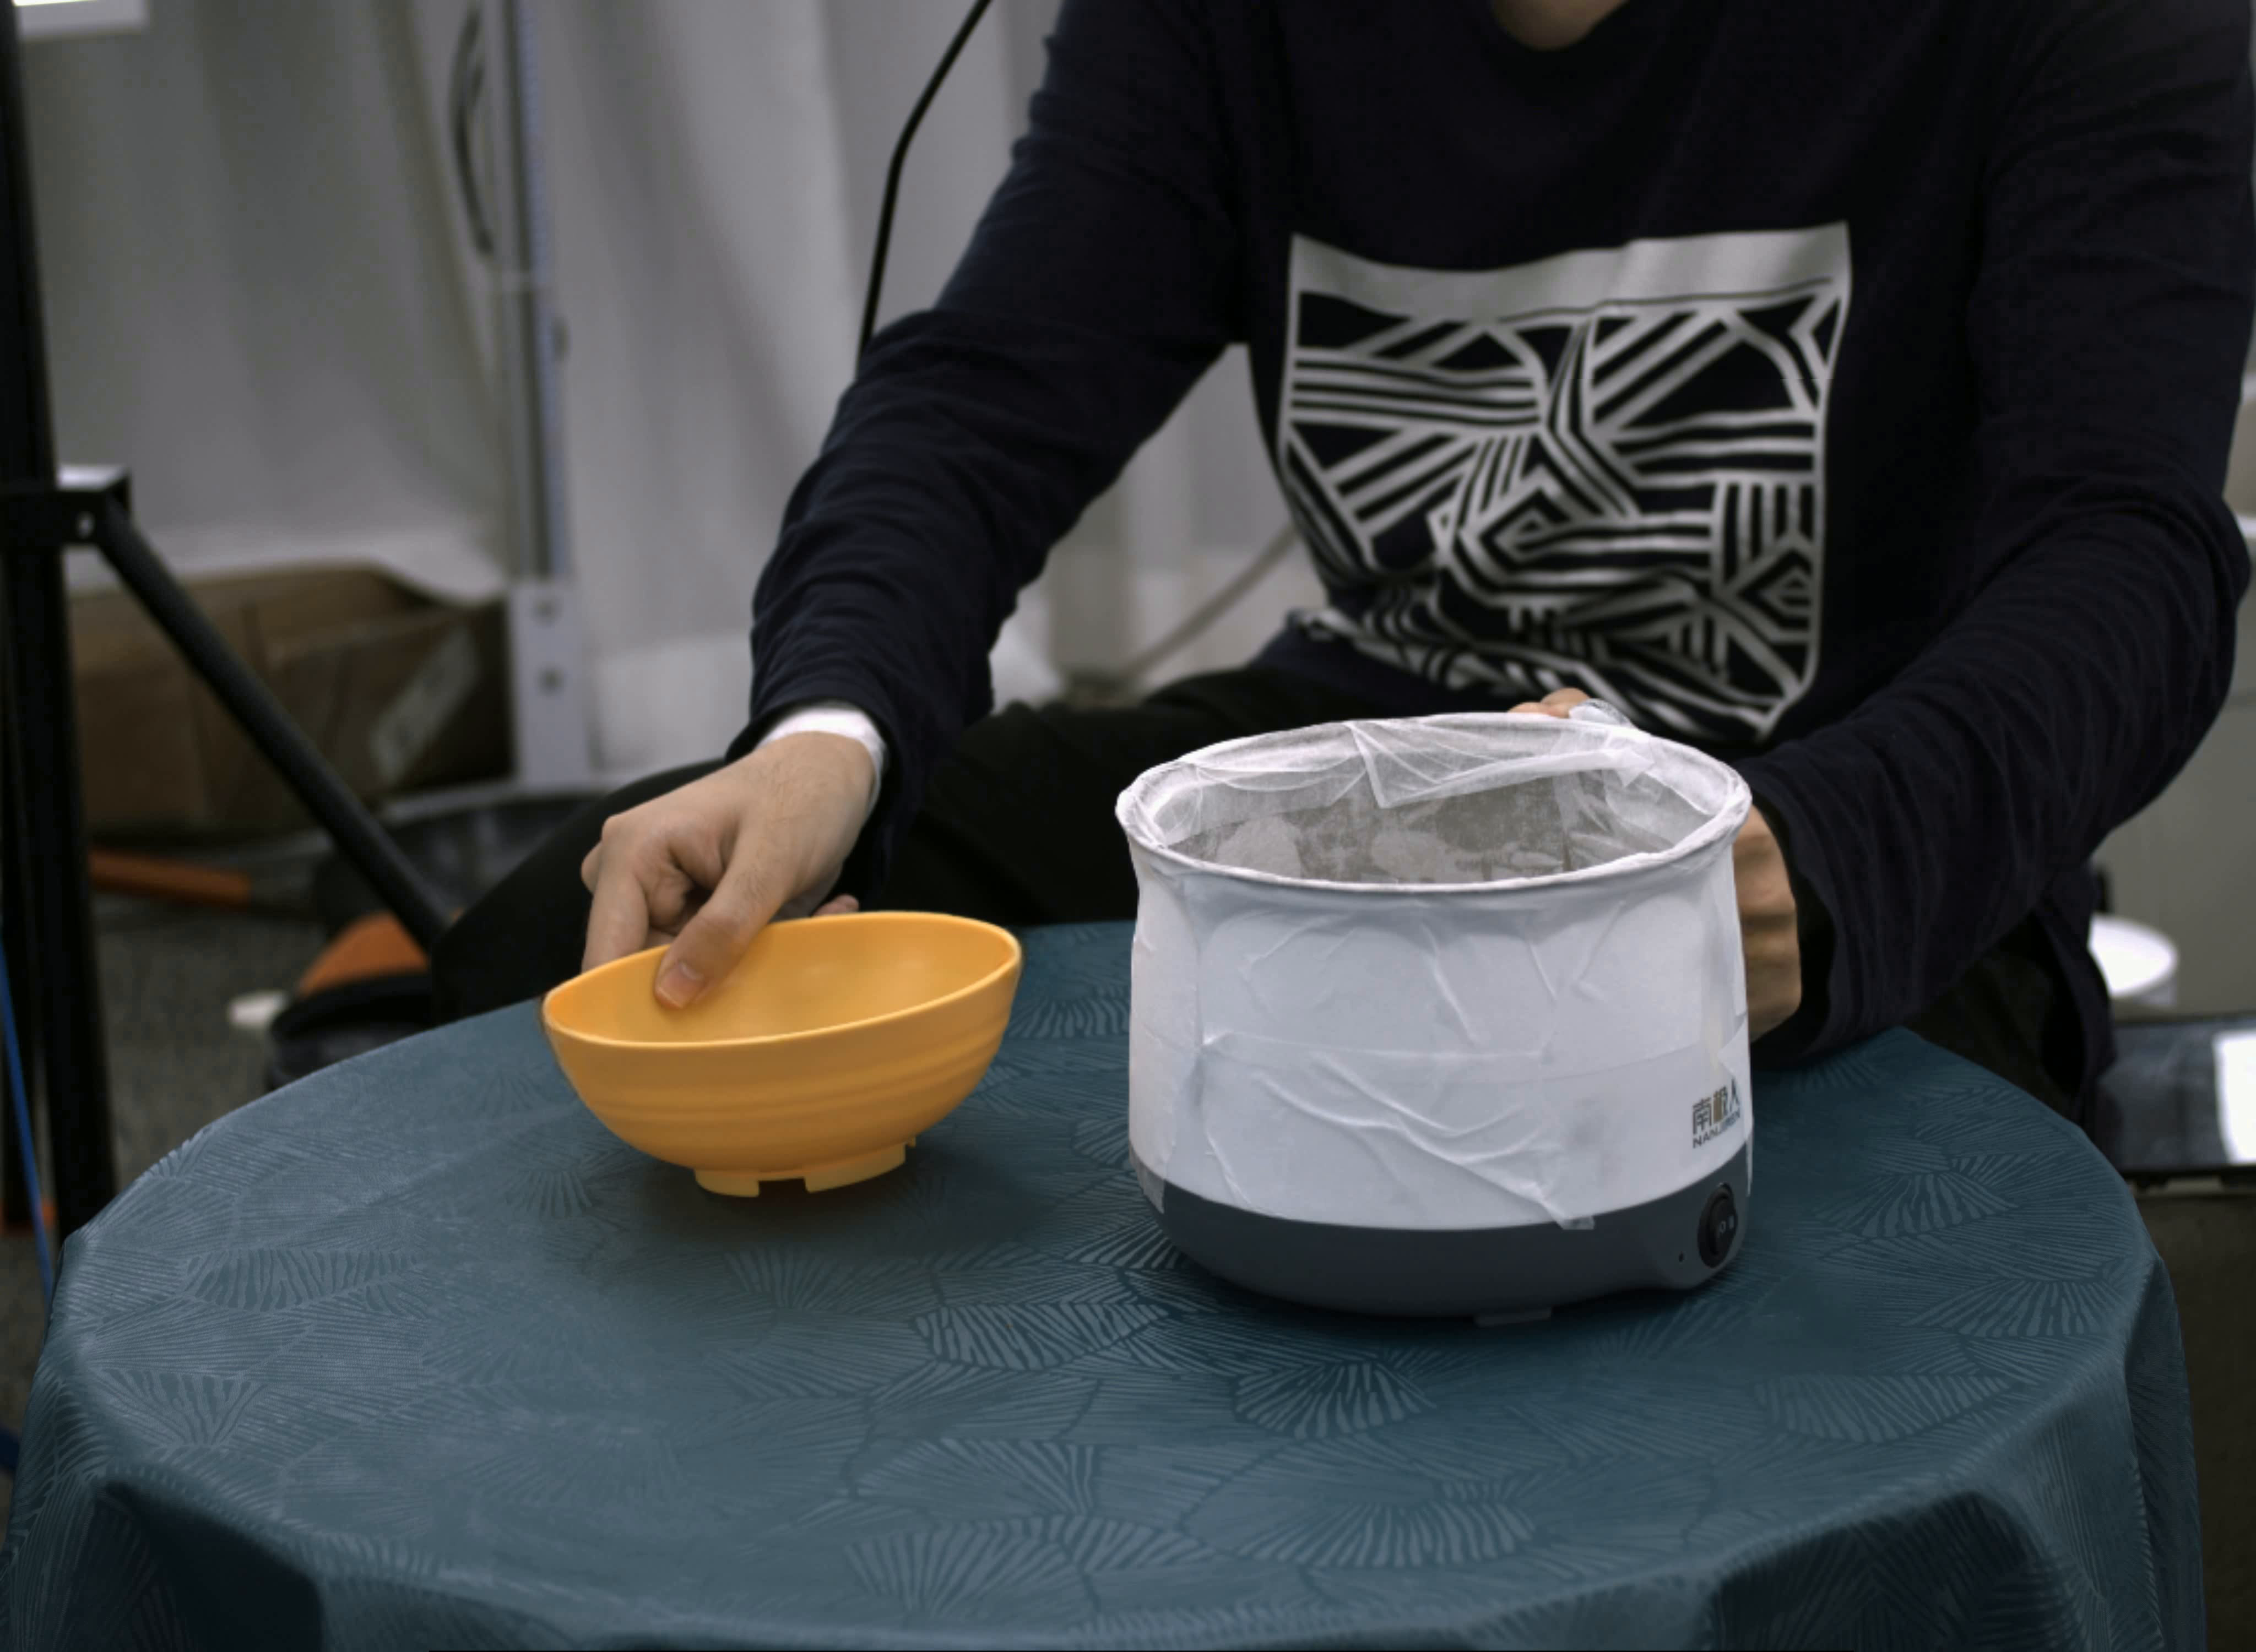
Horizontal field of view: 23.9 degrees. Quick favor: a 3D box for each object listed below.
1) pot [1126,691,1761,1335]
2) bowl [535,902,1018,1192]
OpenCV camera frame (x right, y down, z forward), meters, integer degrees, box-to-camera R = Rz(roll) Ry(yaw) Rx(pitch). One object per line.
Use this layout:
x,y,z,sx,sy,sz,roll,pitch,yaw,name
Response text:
0.101,0.045,1.513,0.182,0.136,0.229,10,21,29,pot
-0.101,0.070,1.585,0.145,0.060,0.146,-7,14,0,bowl
